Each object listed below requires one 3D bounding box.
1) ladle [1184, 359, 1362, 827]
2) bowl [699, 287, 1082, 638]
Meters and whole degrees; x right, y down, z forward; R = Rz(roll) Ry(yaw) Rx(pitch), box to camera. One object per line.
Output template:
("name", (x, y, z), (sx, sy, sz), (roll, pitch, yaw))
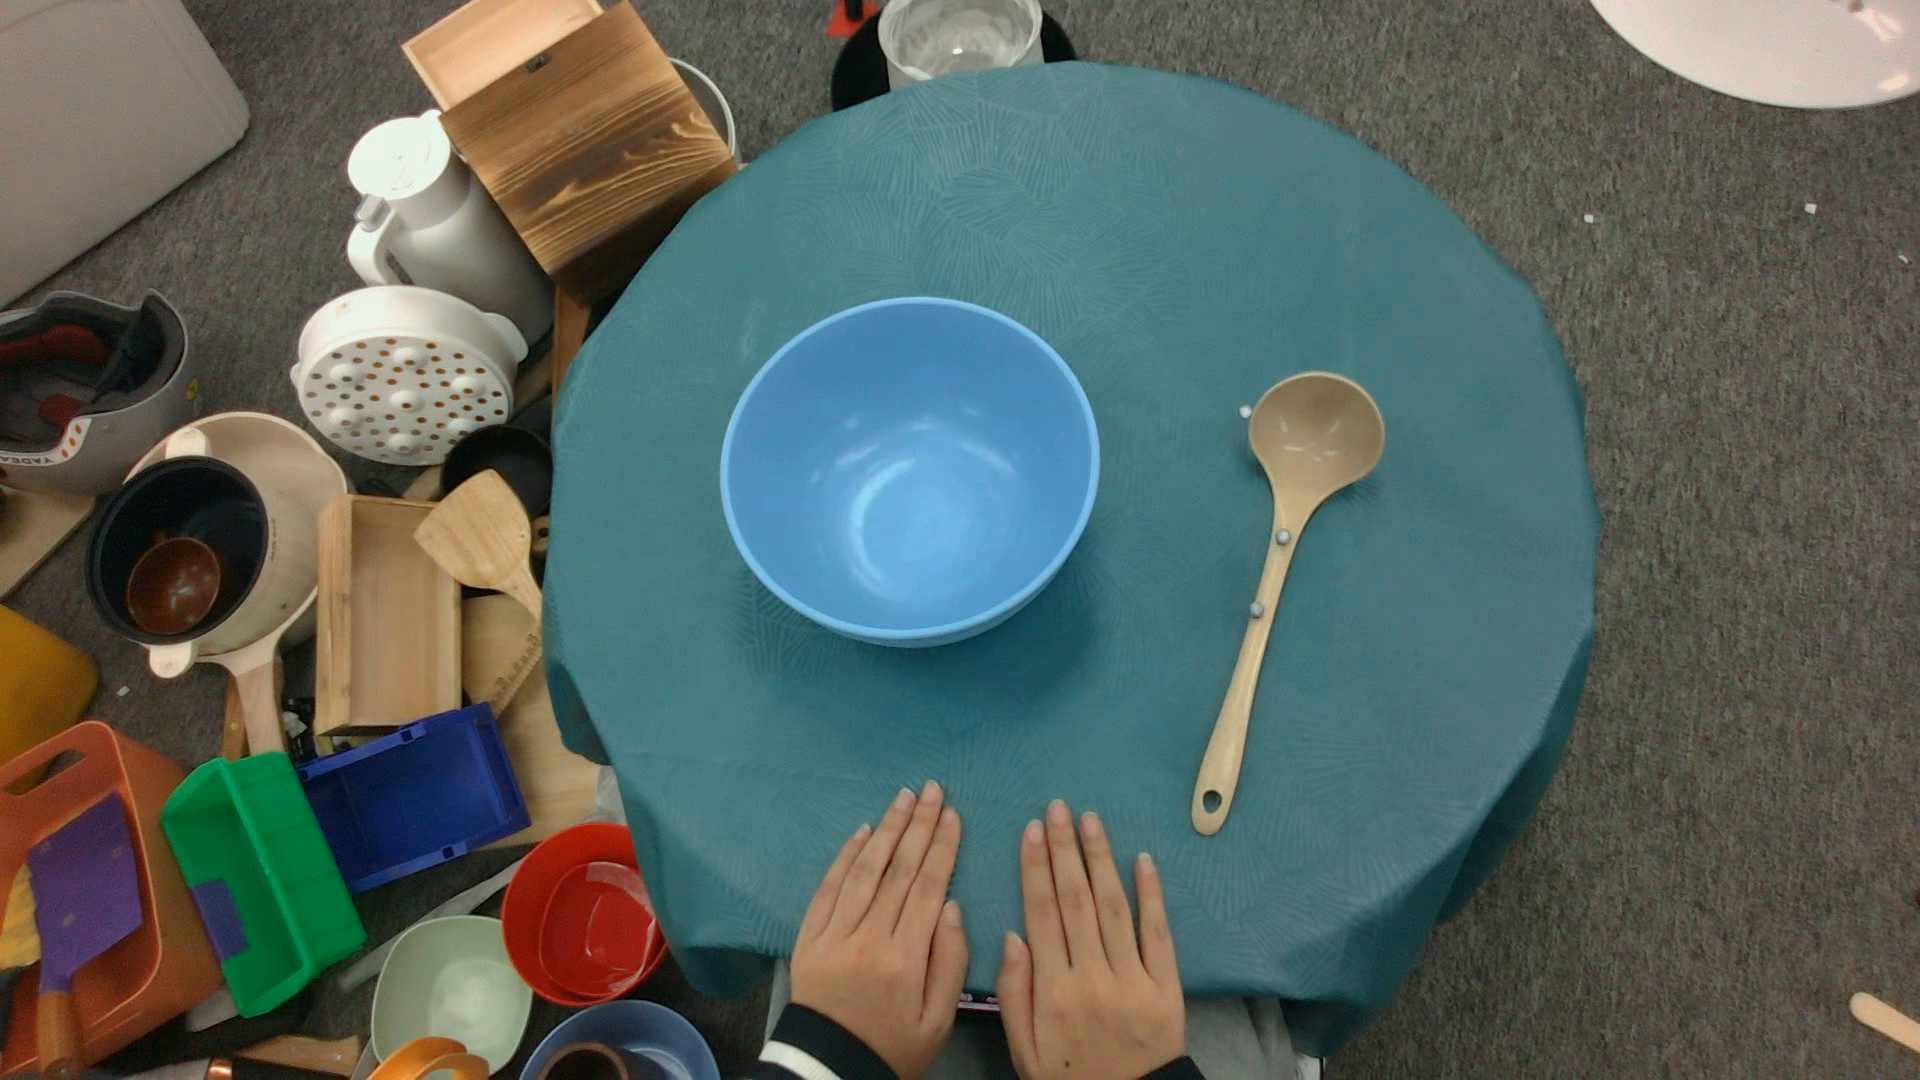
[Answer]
("ladle", (0.156, 0.021, 0.724), (0.072, 0.072, 0.255), (14, 68, 10))
("bowl", (-0.035, -0.029, 0.747), (0.196, 0.095, 0.197), (0, 66, 1))
